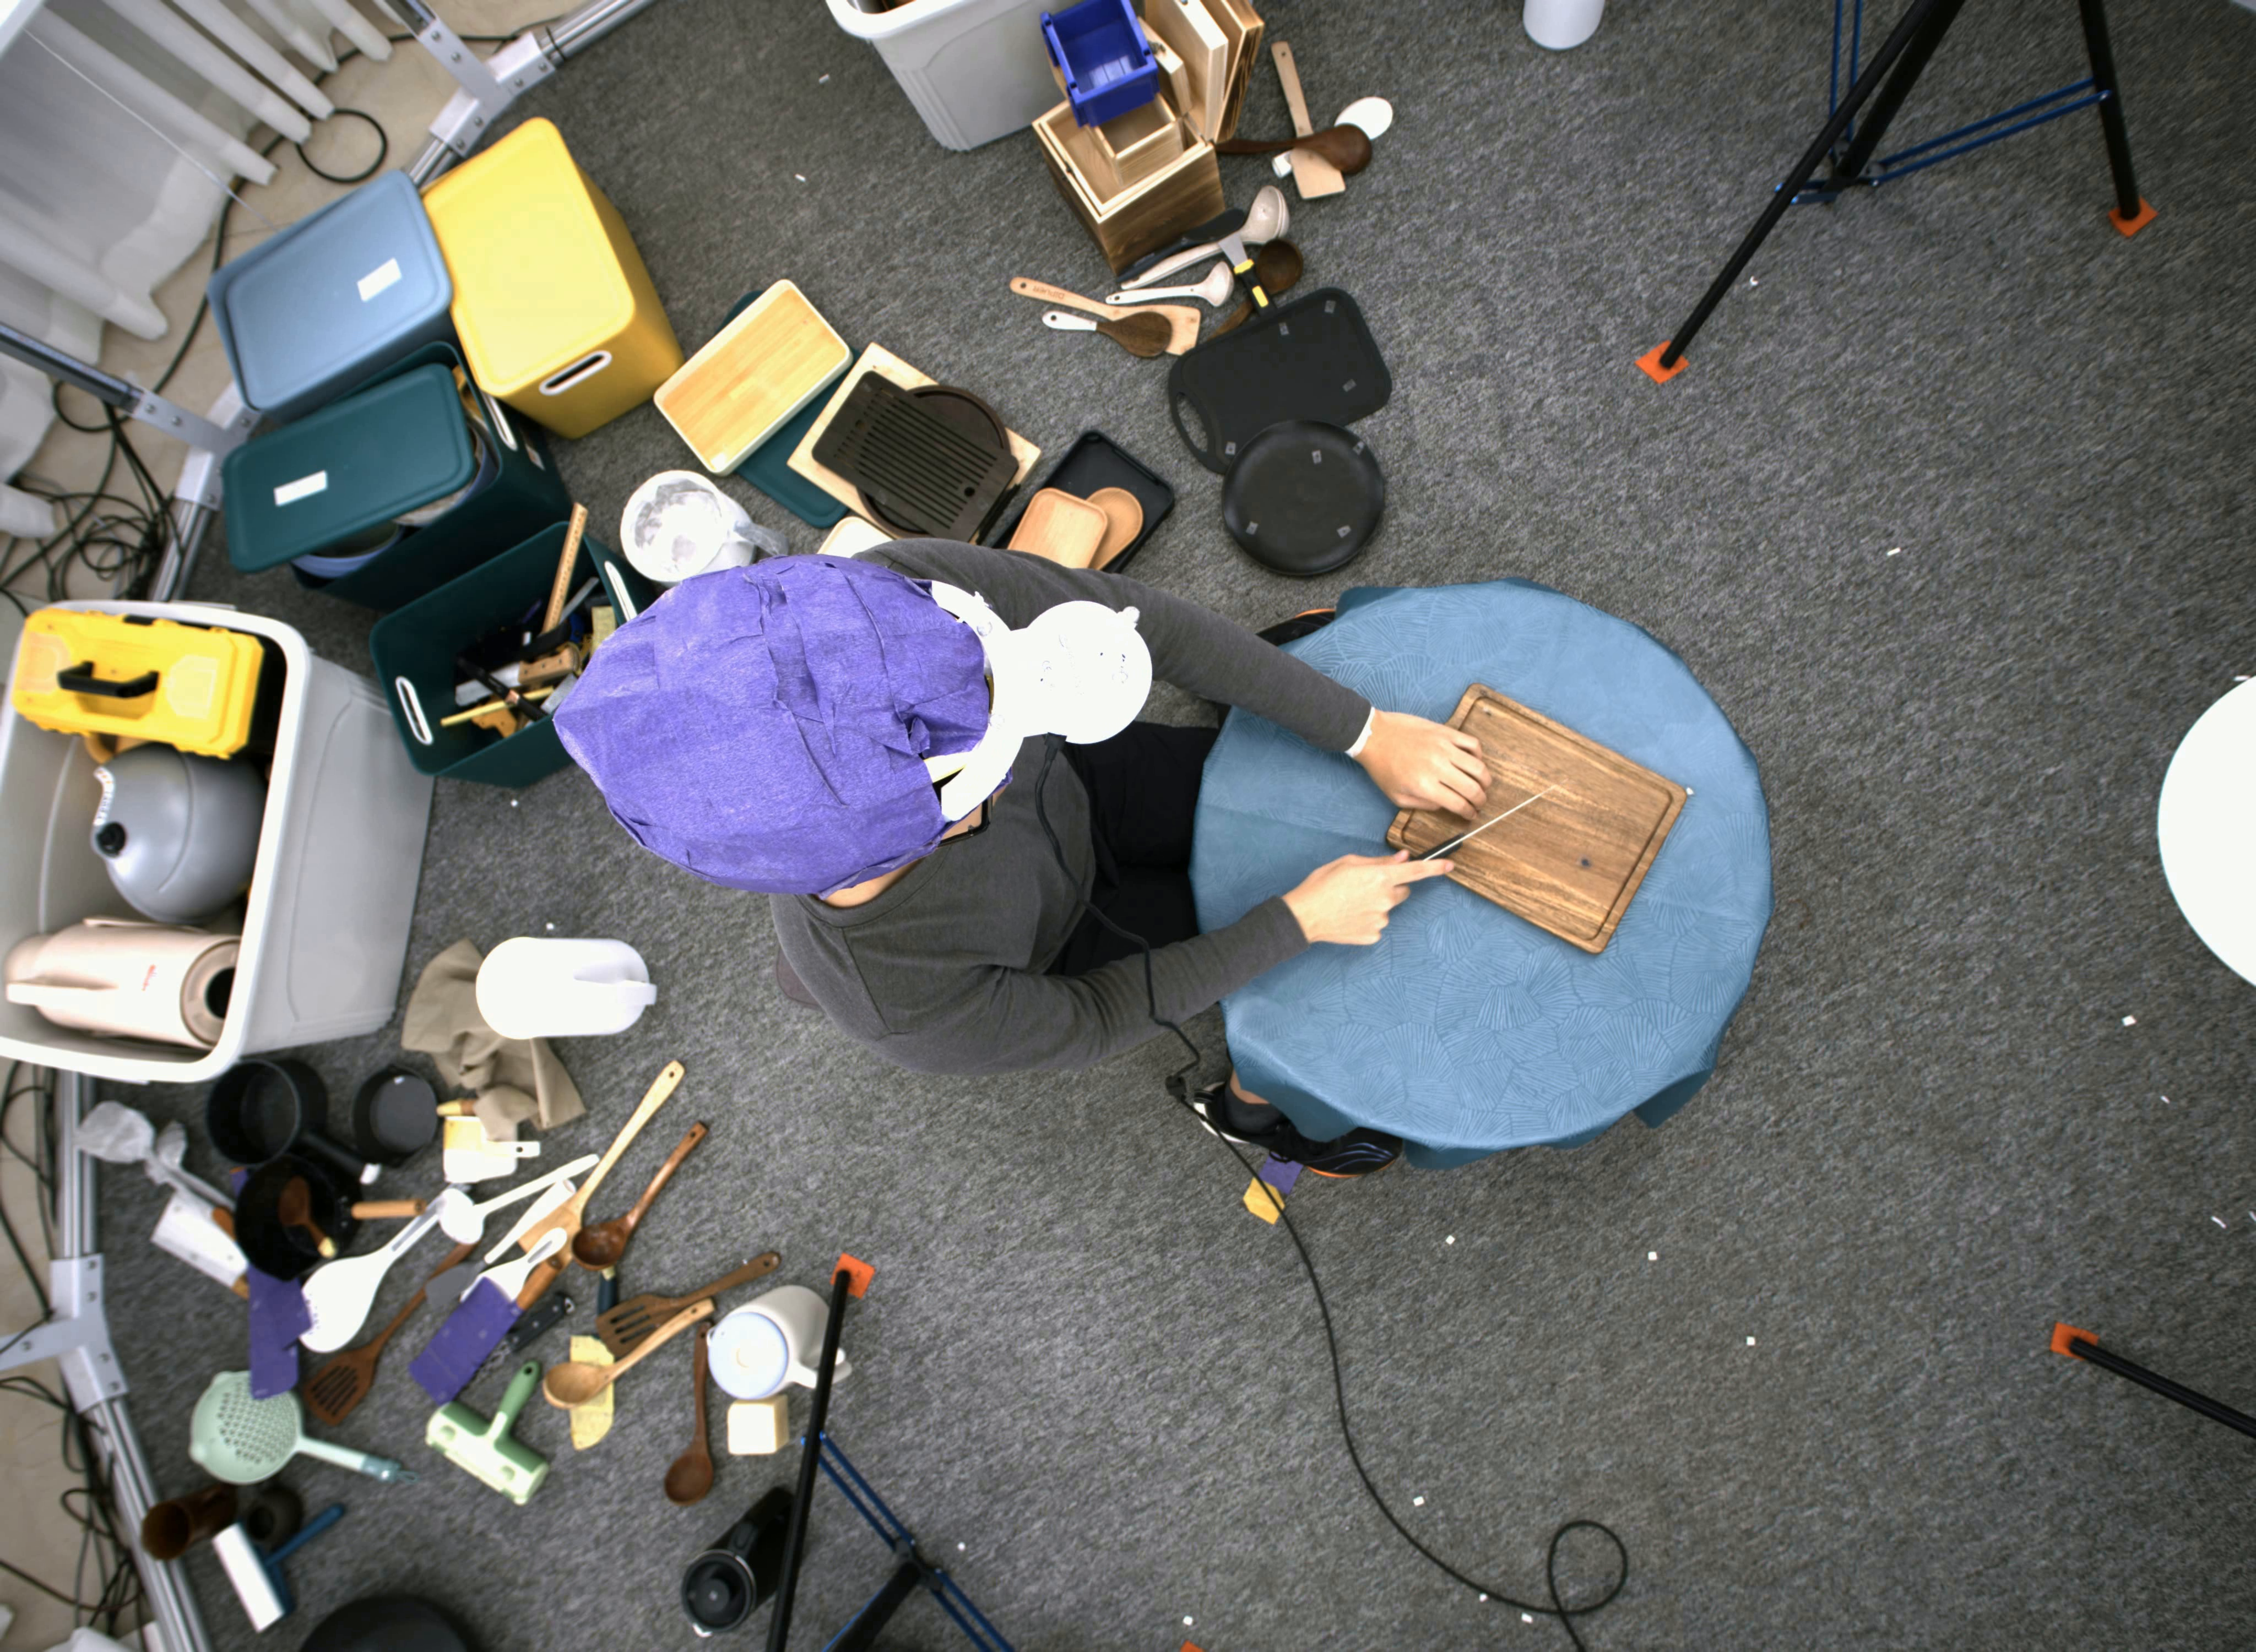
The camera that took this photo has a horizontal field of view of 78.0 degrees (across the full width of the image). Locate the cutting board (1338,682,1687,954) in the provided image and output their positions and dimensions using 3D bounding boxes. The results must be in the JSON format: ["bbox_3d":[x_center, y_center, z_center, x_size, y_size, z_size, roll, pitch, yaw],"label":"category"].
[{"bbox_3d":[0.379,-0.036,1.435,0.351,0.023,0.201,29,92,11],"label":"cutting board"}]

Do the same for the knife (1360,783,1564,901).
[{"bbox_3d":[0.341,0.012,1.400,0.239,0.024,0.016,-30,84,3],"label":"knife"}]
